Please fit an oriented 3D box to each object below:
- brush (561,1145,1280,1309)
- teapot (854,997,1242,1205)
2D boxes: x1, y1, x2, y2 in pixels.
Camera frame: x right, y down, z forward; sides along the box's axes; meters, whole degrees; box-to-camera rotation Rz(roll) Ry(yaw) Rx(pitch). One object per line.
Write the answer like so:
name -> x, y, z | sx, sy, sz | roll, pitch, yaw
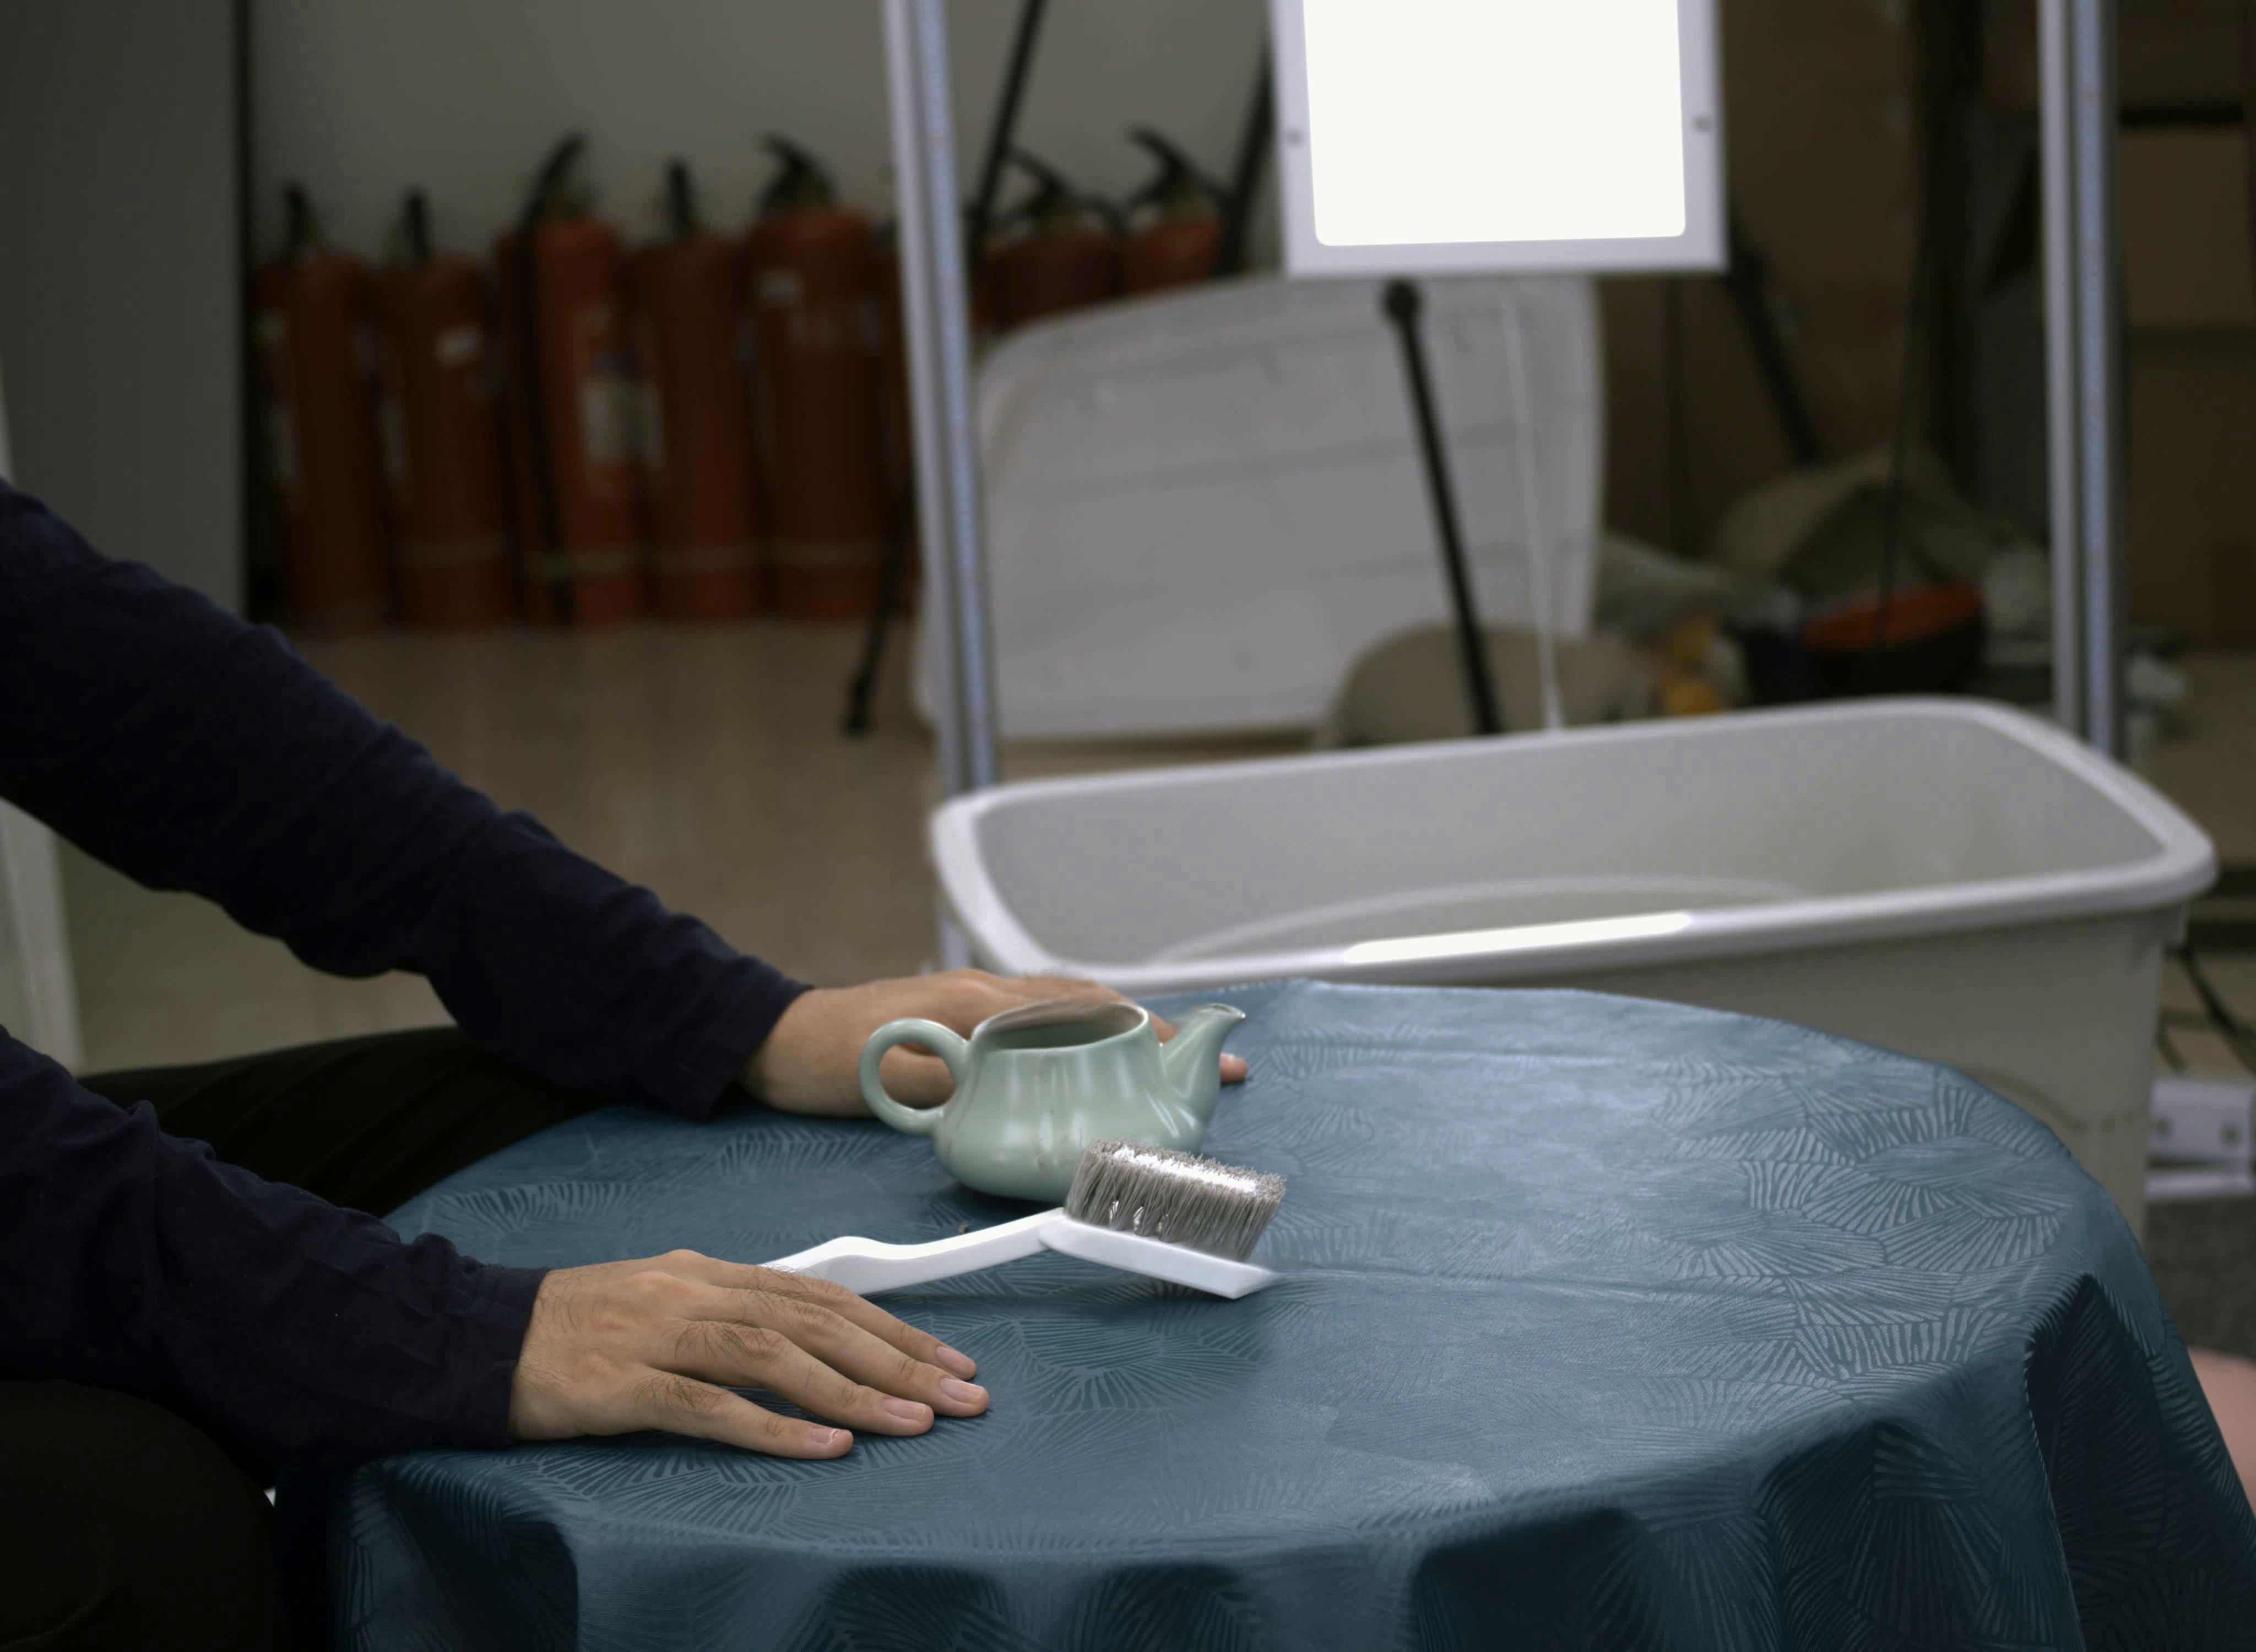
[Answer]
brush -> -0.070, 0.132, 1.805 | 0.245, 0.050, 0.034 | -2, 18, 14
teapot -> -0.026, 0.095, 1.913 | 0.137, 0.061, 0.095 | -3, 16, 5
